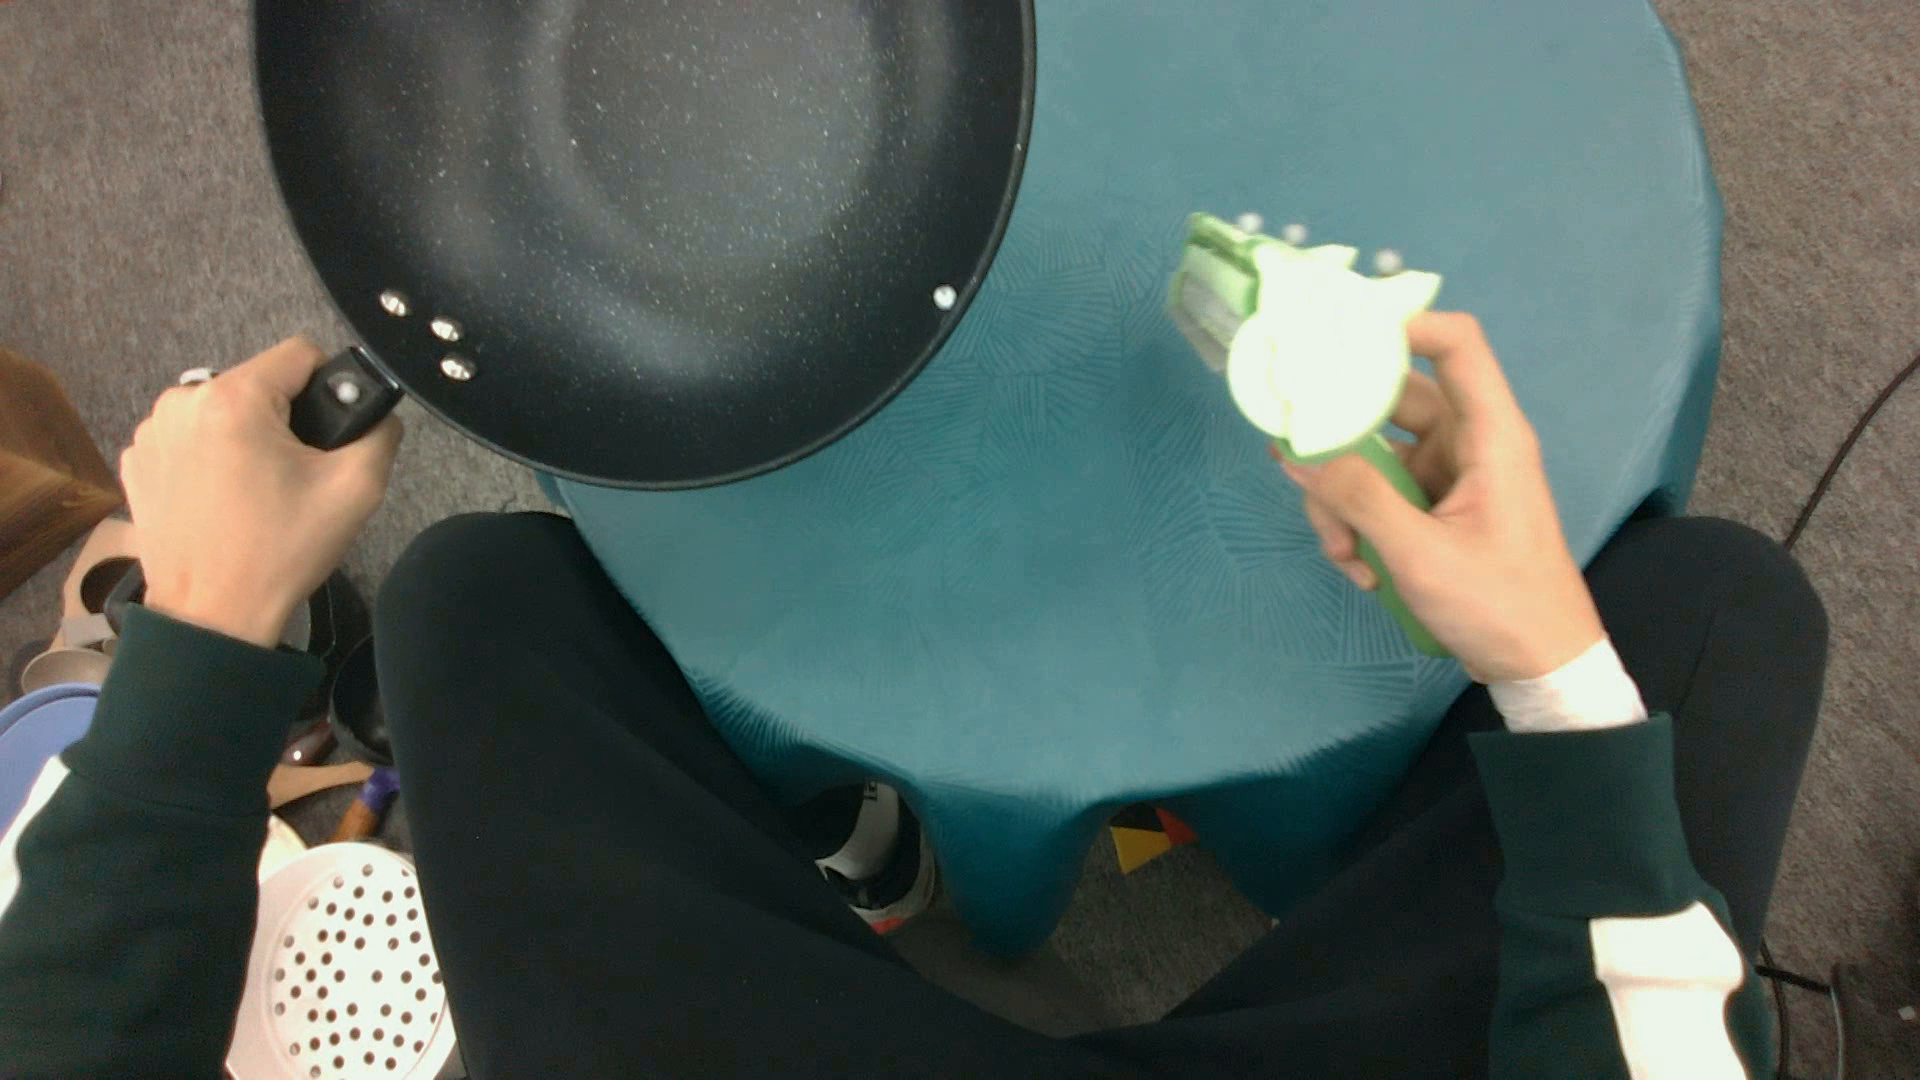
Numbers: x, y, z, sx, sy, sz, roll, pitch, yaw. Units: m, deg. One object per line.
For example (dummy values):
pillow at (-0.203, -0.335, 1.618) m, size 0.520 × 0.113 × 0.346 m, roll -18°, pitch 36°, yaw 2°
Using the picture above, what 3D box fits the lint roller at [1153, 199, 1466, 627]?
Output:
lint roller at (0.151, -0.053, 0.513) m, size 0.082 × 0.199 × 0.183 m, roll -42°, pitch 101°, yaw 12°

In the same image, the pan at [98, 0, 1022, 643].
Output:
pan at (-0.179, -0.129, 0.548) m, size 0.310 × 0.112 × 0.475 m, roll 46°, pitch 109°, yaw 1°
